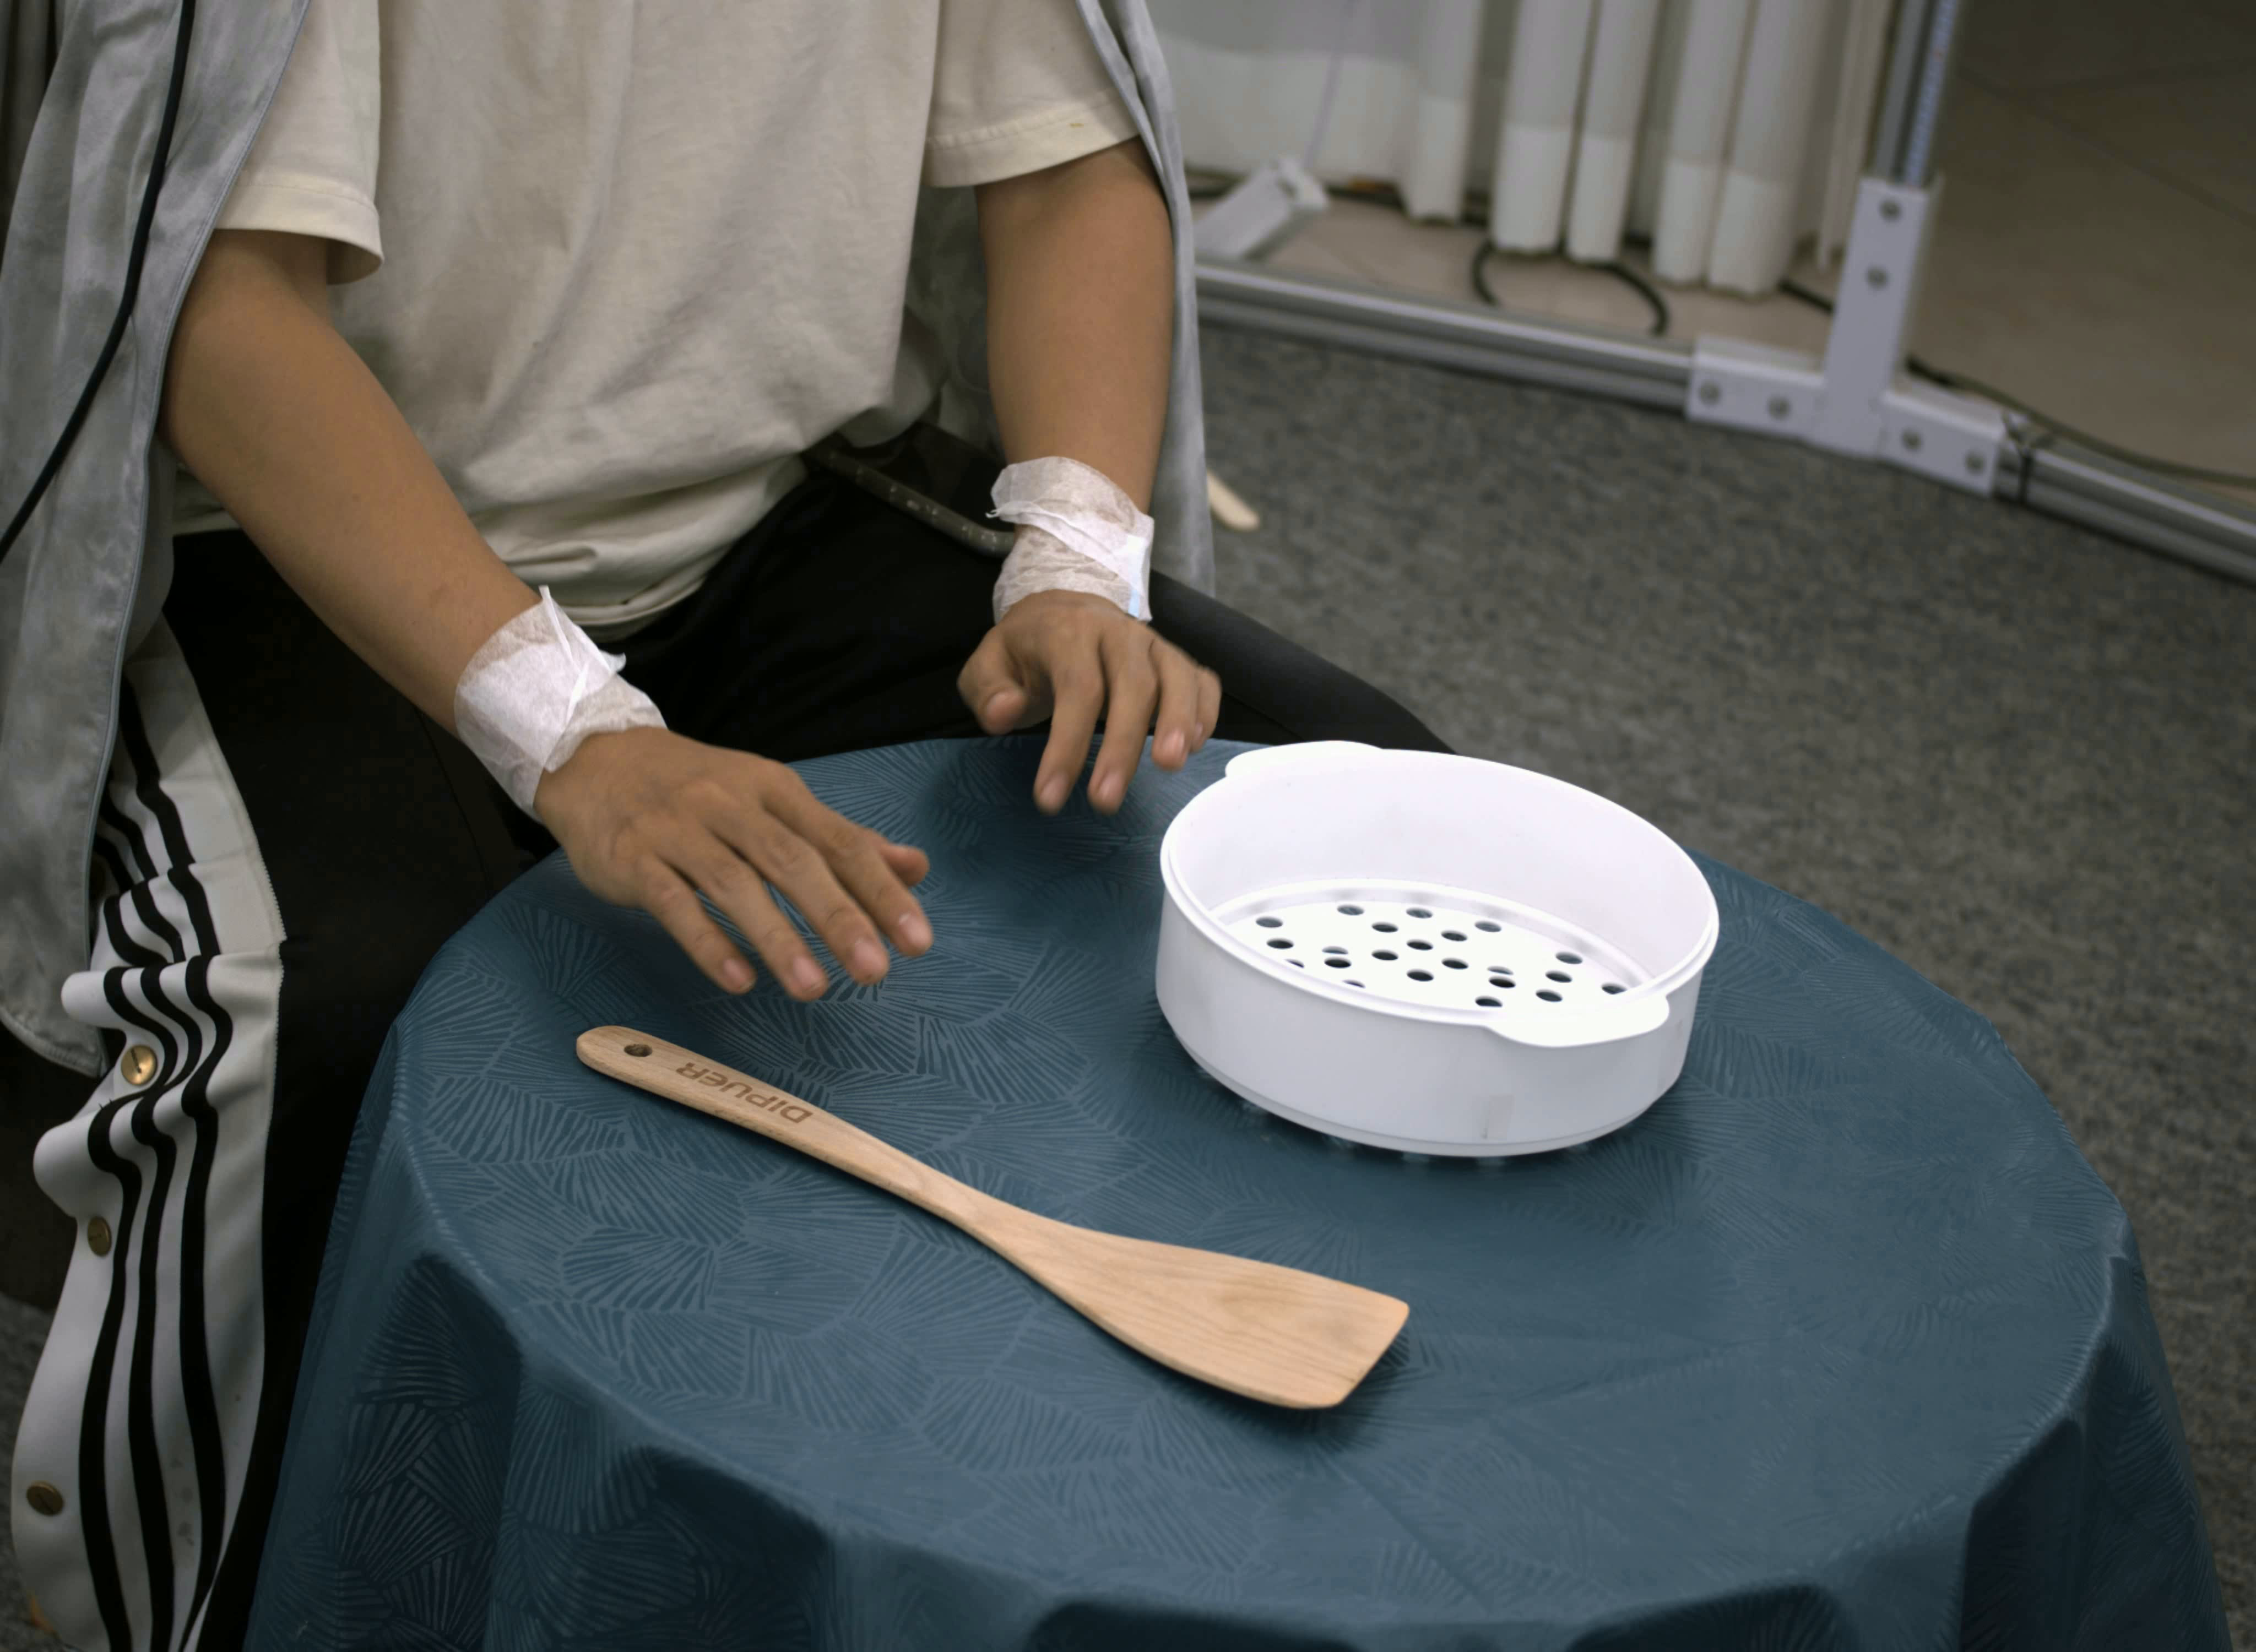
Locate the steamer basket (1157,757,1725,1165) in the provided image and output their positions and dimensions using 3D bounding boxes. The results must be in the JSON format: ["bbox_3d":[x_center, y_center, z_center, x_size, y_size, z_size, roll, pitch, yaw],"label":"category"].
[{"bbox_3d":[0.110,0.050,1.904,0.200,0.069,0.232,-6,28,-26],"label":"steamer basket"}]

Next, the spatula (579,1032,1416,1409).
[{"bbox_3d":[-0.051,0.124,1.773,0.329,0.016,0.080,21,29,27],"label":"spatula"}]
